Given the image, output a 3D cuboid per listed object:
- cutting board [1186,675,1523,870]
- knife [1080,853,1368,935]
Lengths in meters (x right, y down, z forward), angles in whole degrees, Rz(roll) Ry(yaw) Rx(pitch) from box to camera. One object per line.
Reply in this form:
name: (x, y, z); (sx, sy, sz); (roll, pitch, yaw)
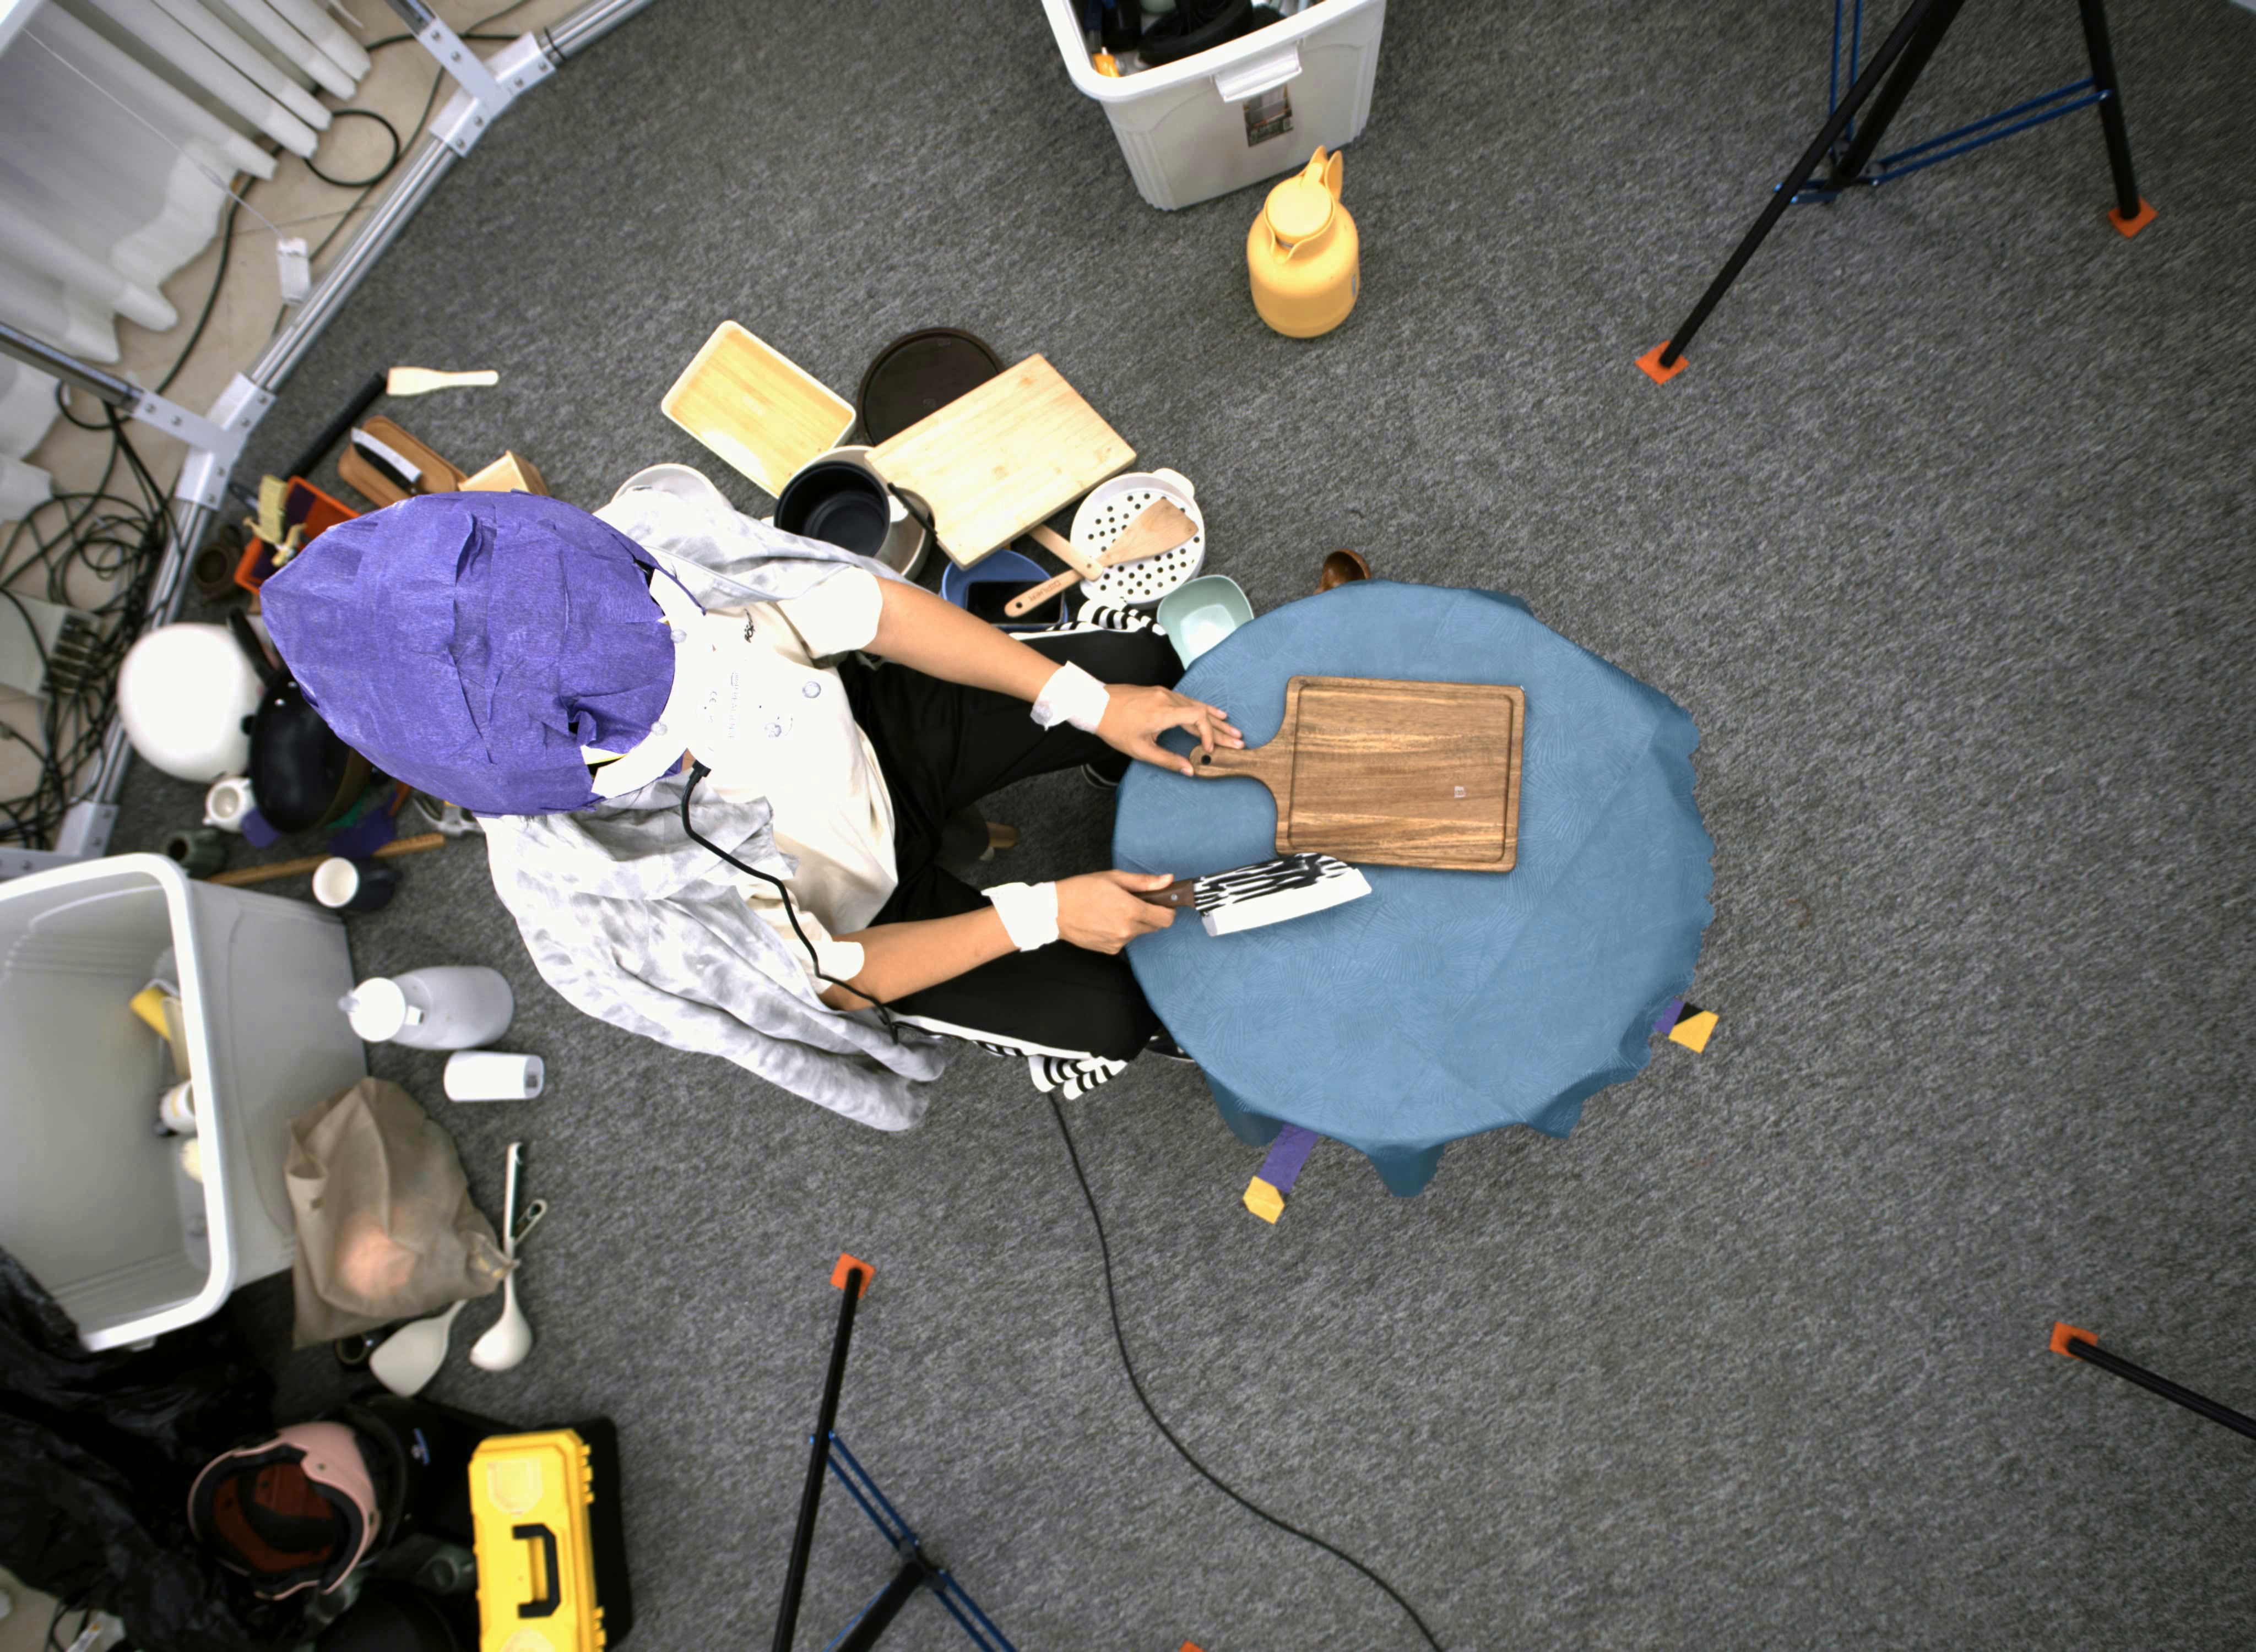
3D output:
cutting board: (0.236, -0.062, 1.461); (0.353, 0.023, 0.200); (3, 87, 11)
knife: (0.098, 0.078, 1.443); (0.302, 0.023, 0.069); (-13, 108, 14)
